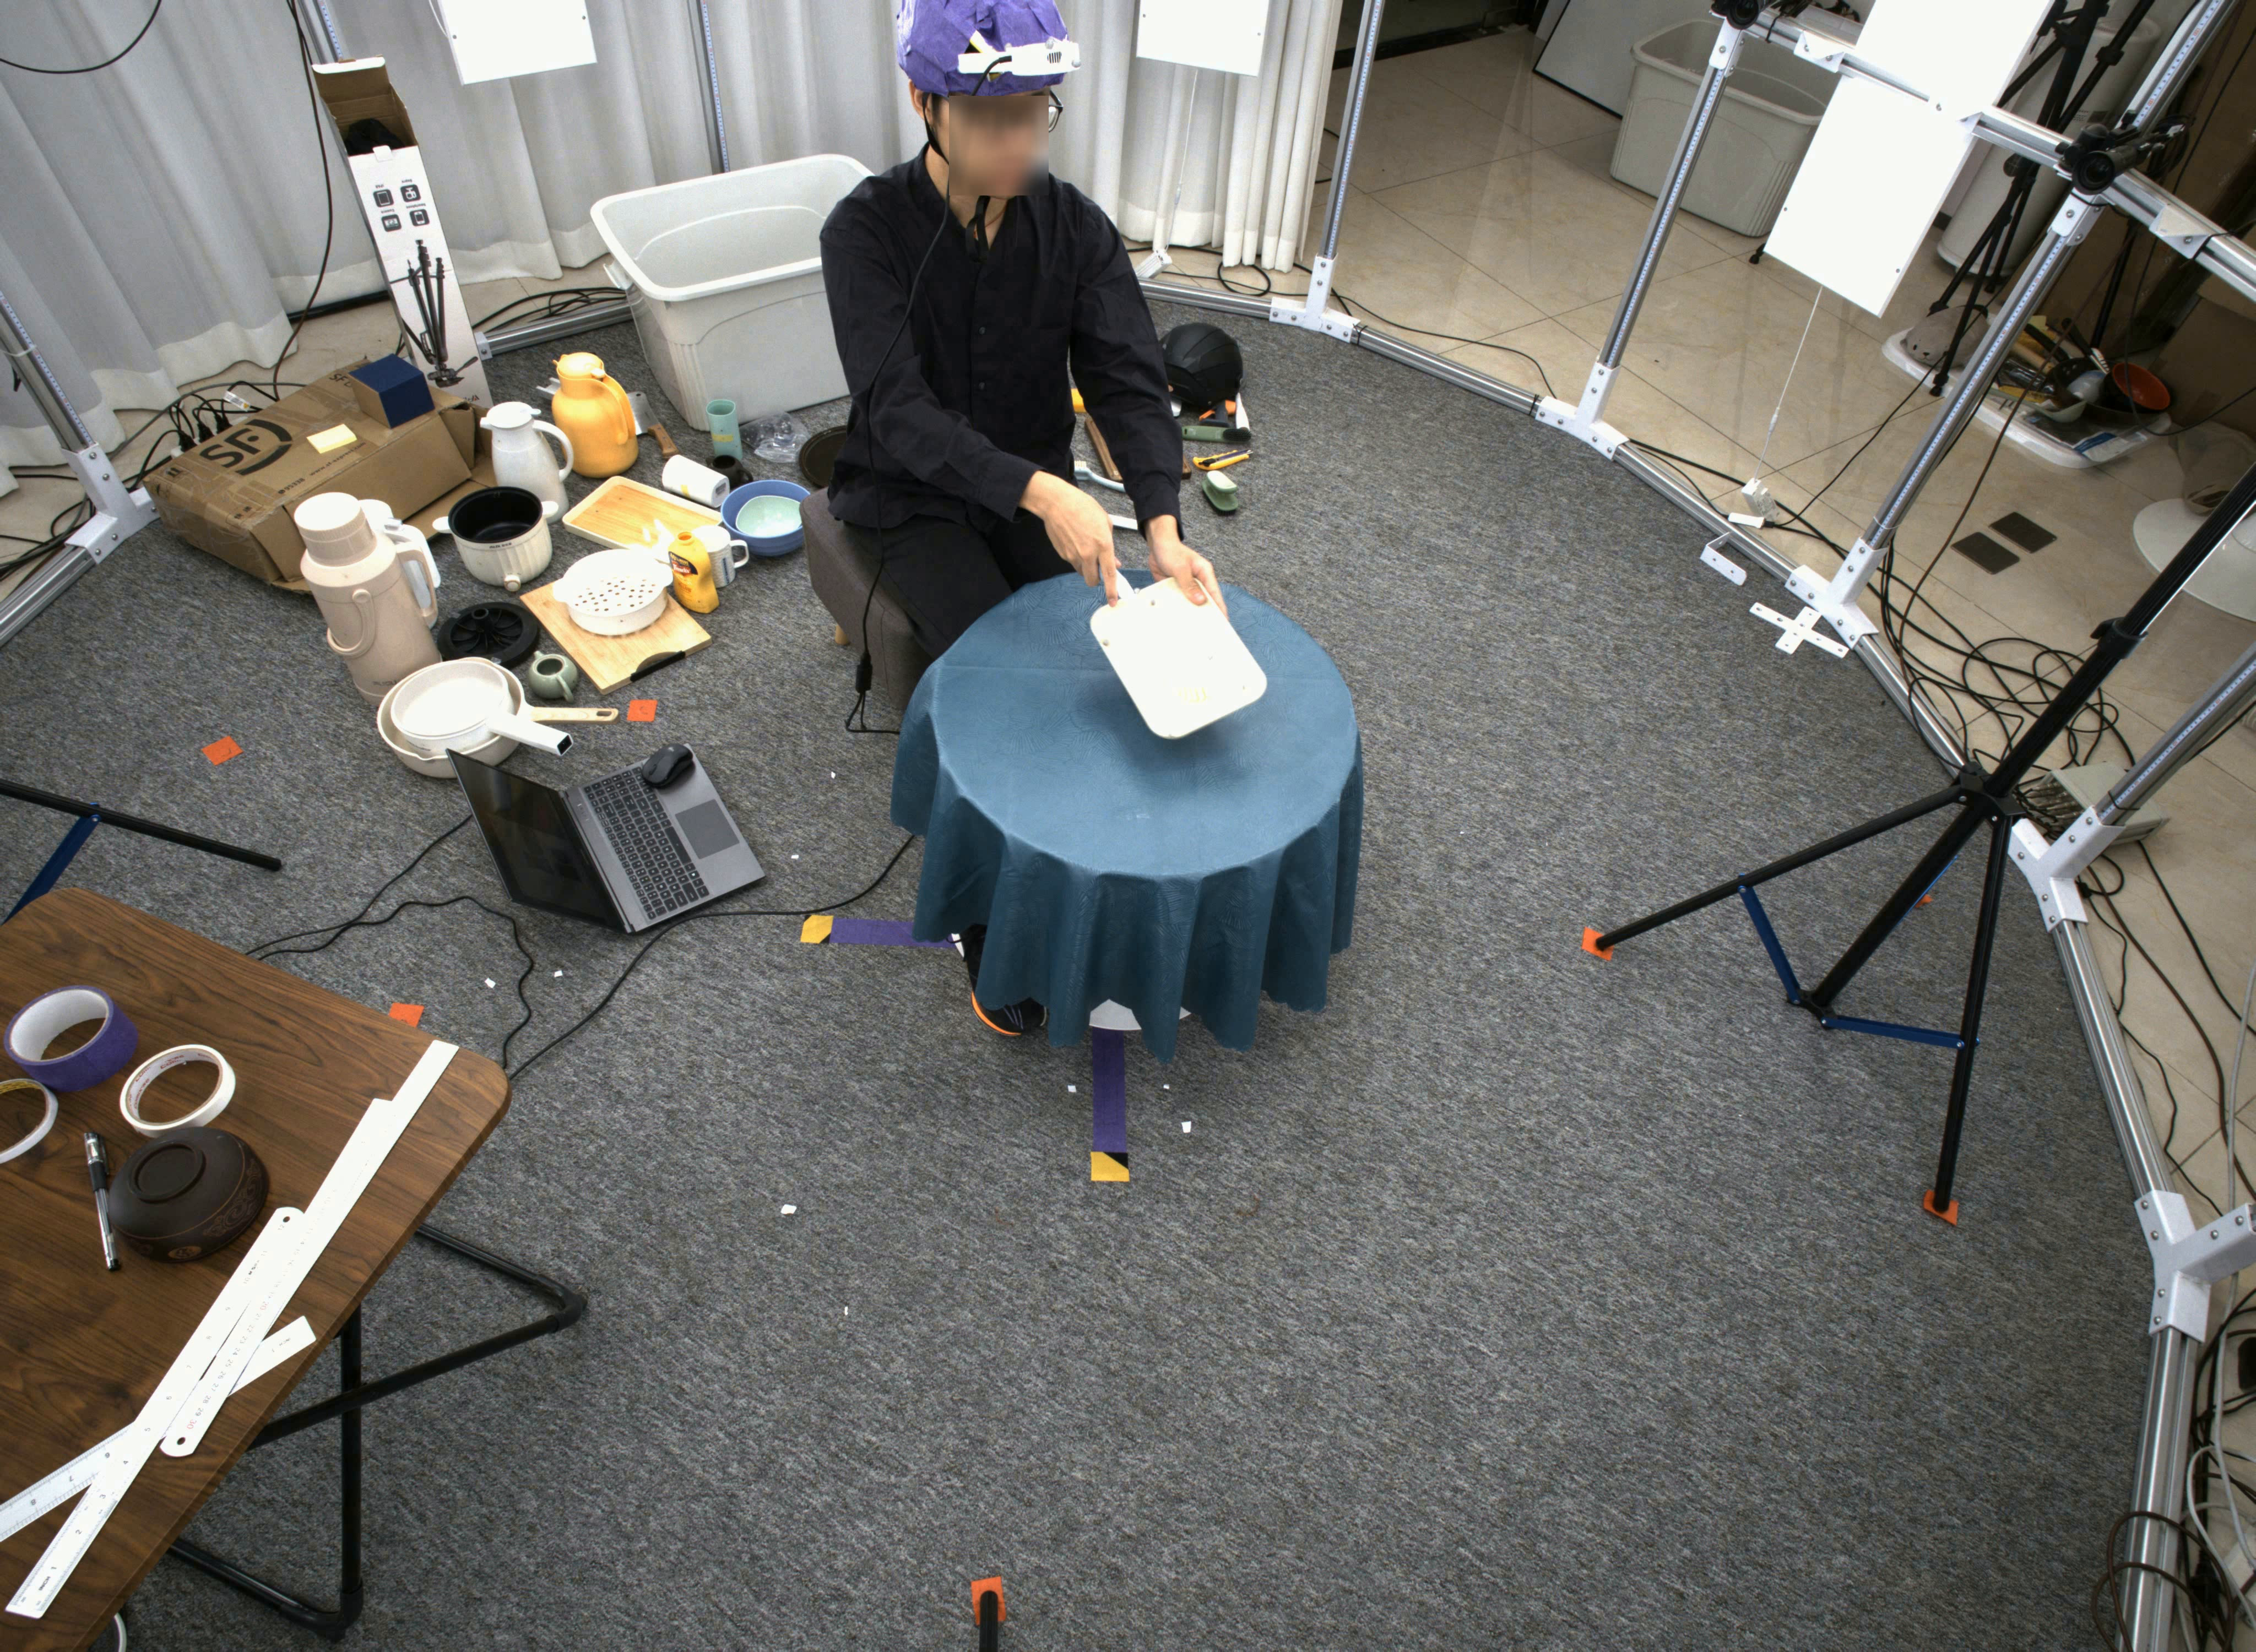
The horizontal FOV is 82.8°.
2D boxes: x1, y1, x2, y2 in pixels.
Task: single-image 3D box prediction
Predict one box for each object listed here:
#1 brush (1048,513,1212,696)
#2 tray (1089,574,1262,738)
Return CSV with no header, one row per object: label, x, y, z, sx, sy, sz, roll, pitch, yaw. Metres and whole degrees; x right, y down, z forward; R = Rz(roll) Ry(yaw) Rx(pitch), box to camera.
brush,0.003,-0.300,1.760,0.329,0.083,0.083,49,39,14
tray,0.063,-0.234,1.756,0.171,0.017,0.244,-24,61,-8
